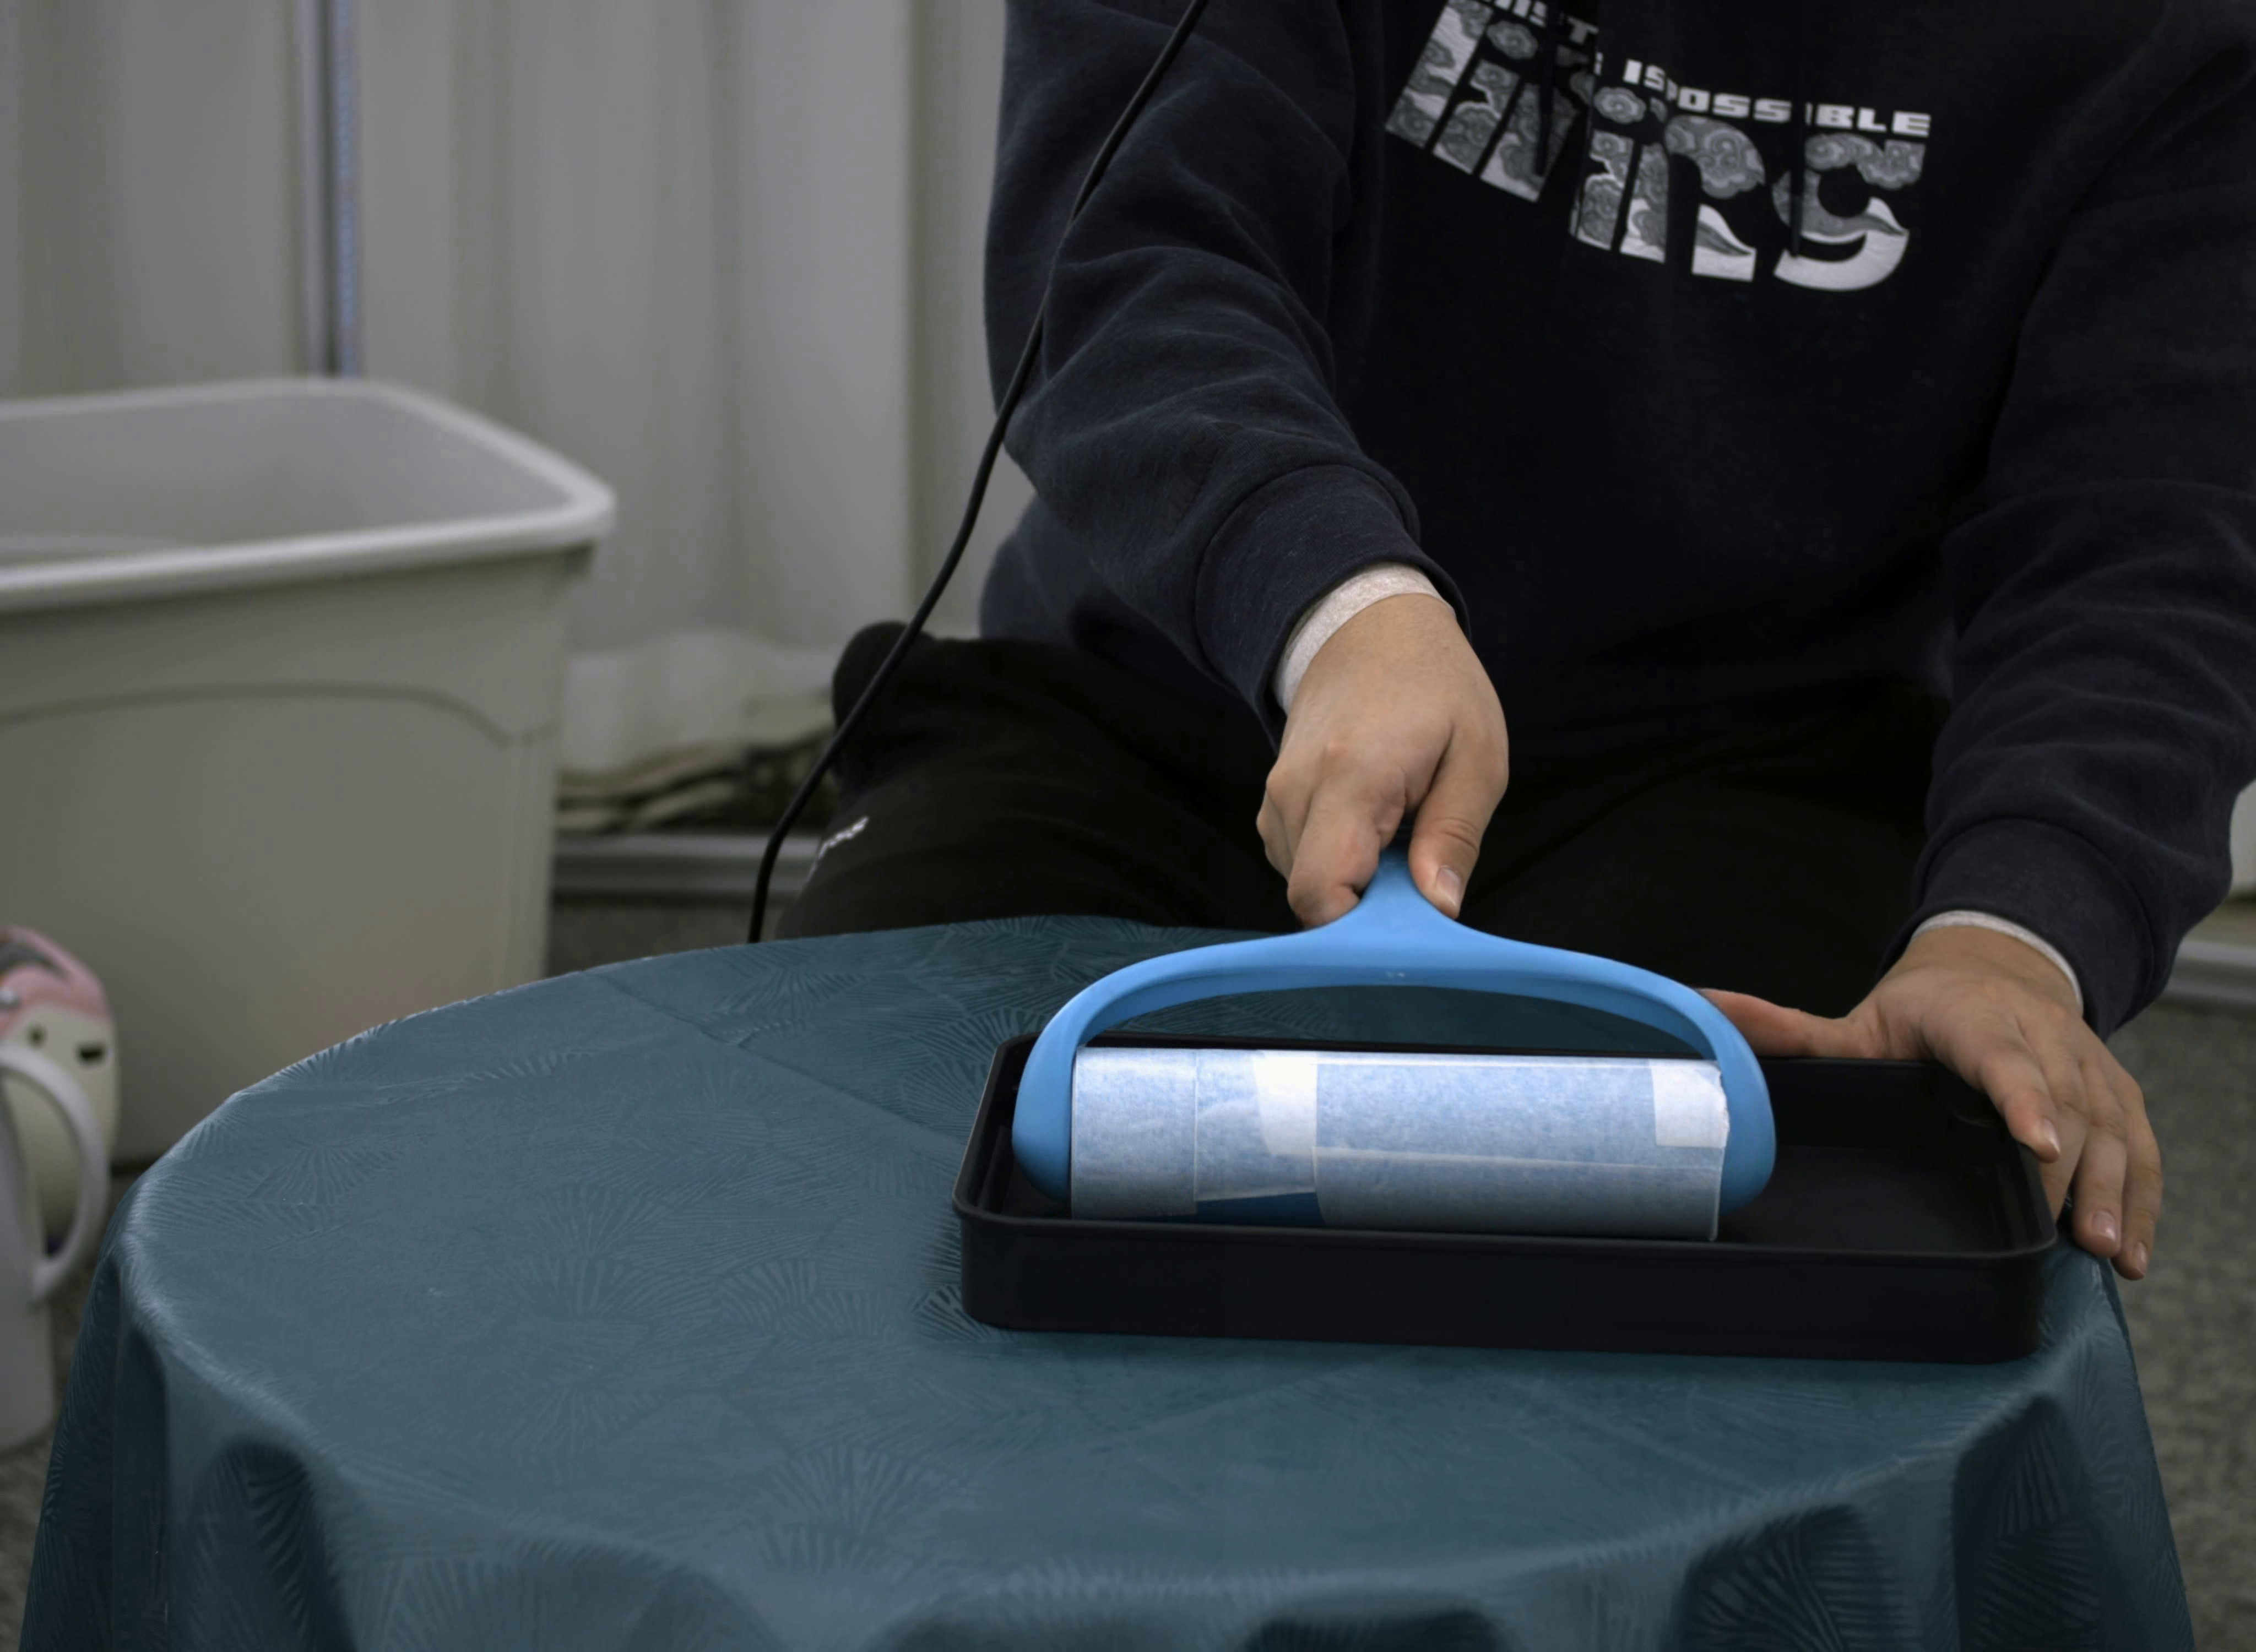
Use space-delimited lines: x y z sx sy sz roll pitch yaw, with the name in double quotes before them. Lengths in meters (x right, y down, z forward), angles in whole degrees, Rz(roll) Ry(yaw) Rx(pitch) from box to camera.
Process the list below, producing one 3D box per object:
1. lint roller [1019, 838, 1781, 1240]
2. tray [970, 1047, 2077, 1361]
"lint roller" 0.081 0.052 1.617 0.228 0.069 0.178 -1 46 0
"tray" 0.117 0.111 1.580 0.316 0.037 0.183 -1 15 3
